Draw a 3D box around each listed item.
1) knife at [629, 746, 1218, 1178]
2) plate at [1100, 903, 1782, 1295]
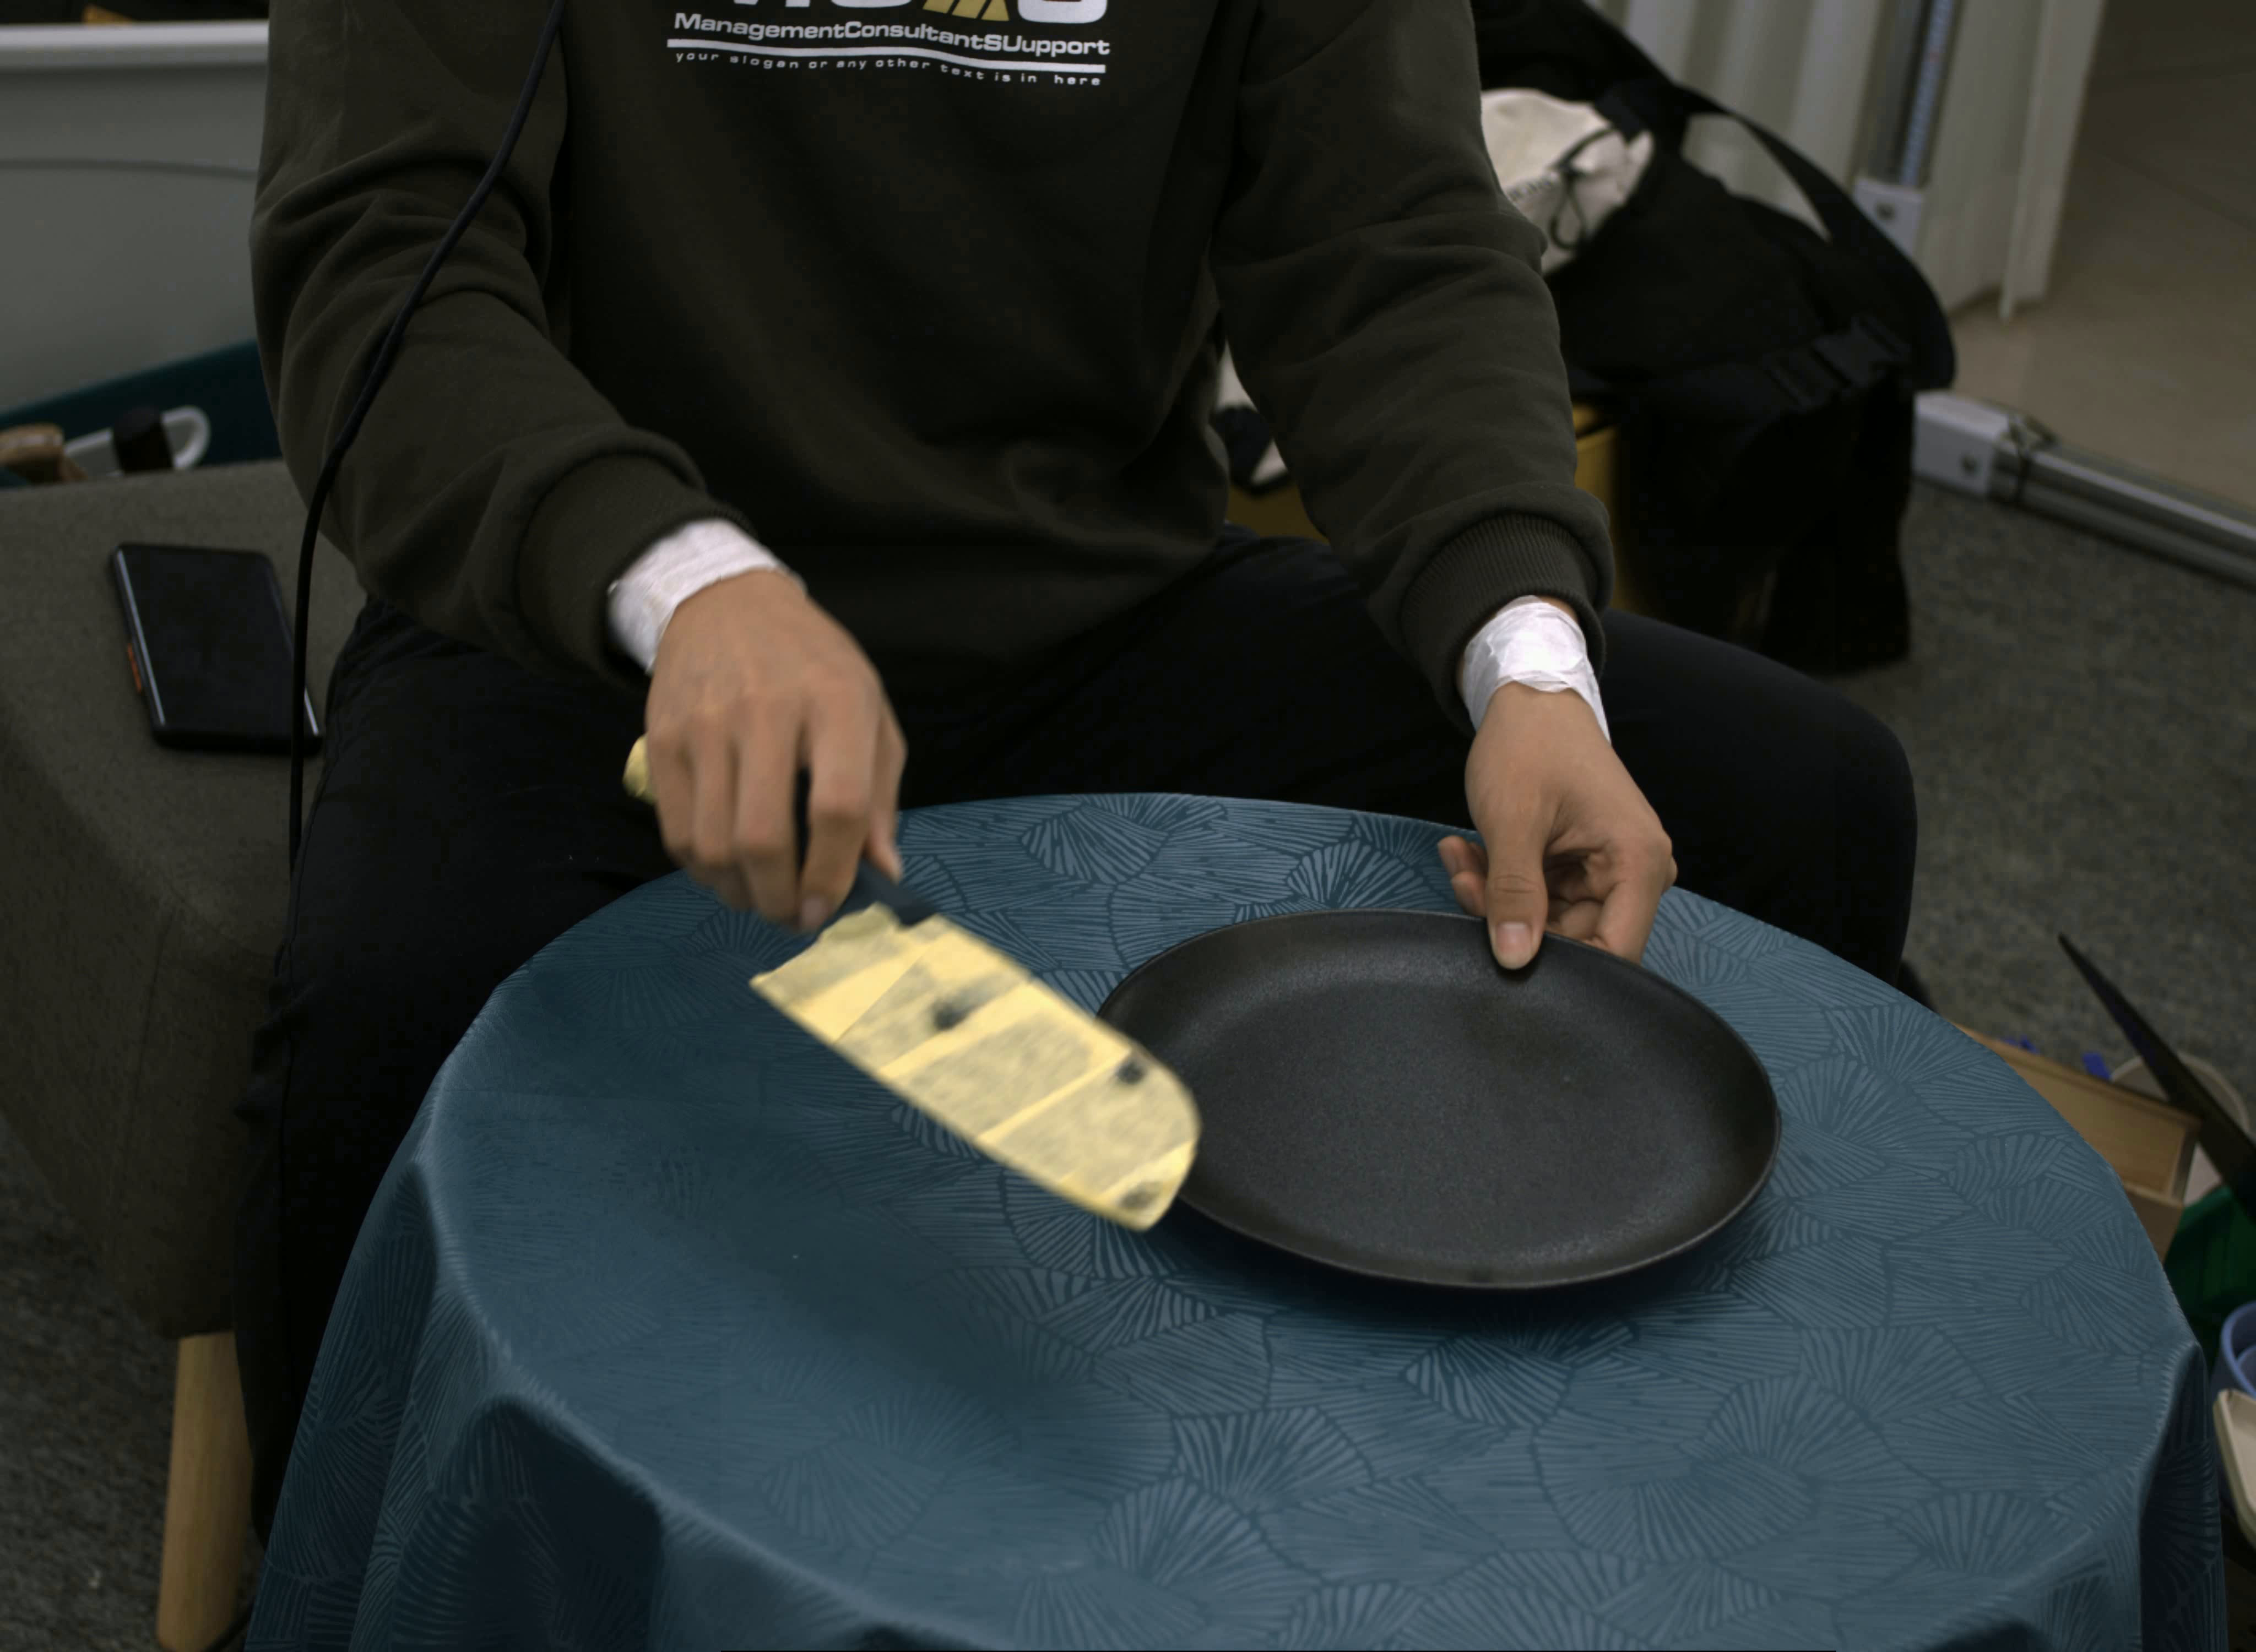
[{"bbox_3d":[-0.077,0.045,1.749,0.081,0.027,0.292,-25,42,-36],"label":"knife"},{"bbox_3d":[0.104,0.098,1.843,0.243,0.023,0.246,4,30,-2],"label":"plate"}]
